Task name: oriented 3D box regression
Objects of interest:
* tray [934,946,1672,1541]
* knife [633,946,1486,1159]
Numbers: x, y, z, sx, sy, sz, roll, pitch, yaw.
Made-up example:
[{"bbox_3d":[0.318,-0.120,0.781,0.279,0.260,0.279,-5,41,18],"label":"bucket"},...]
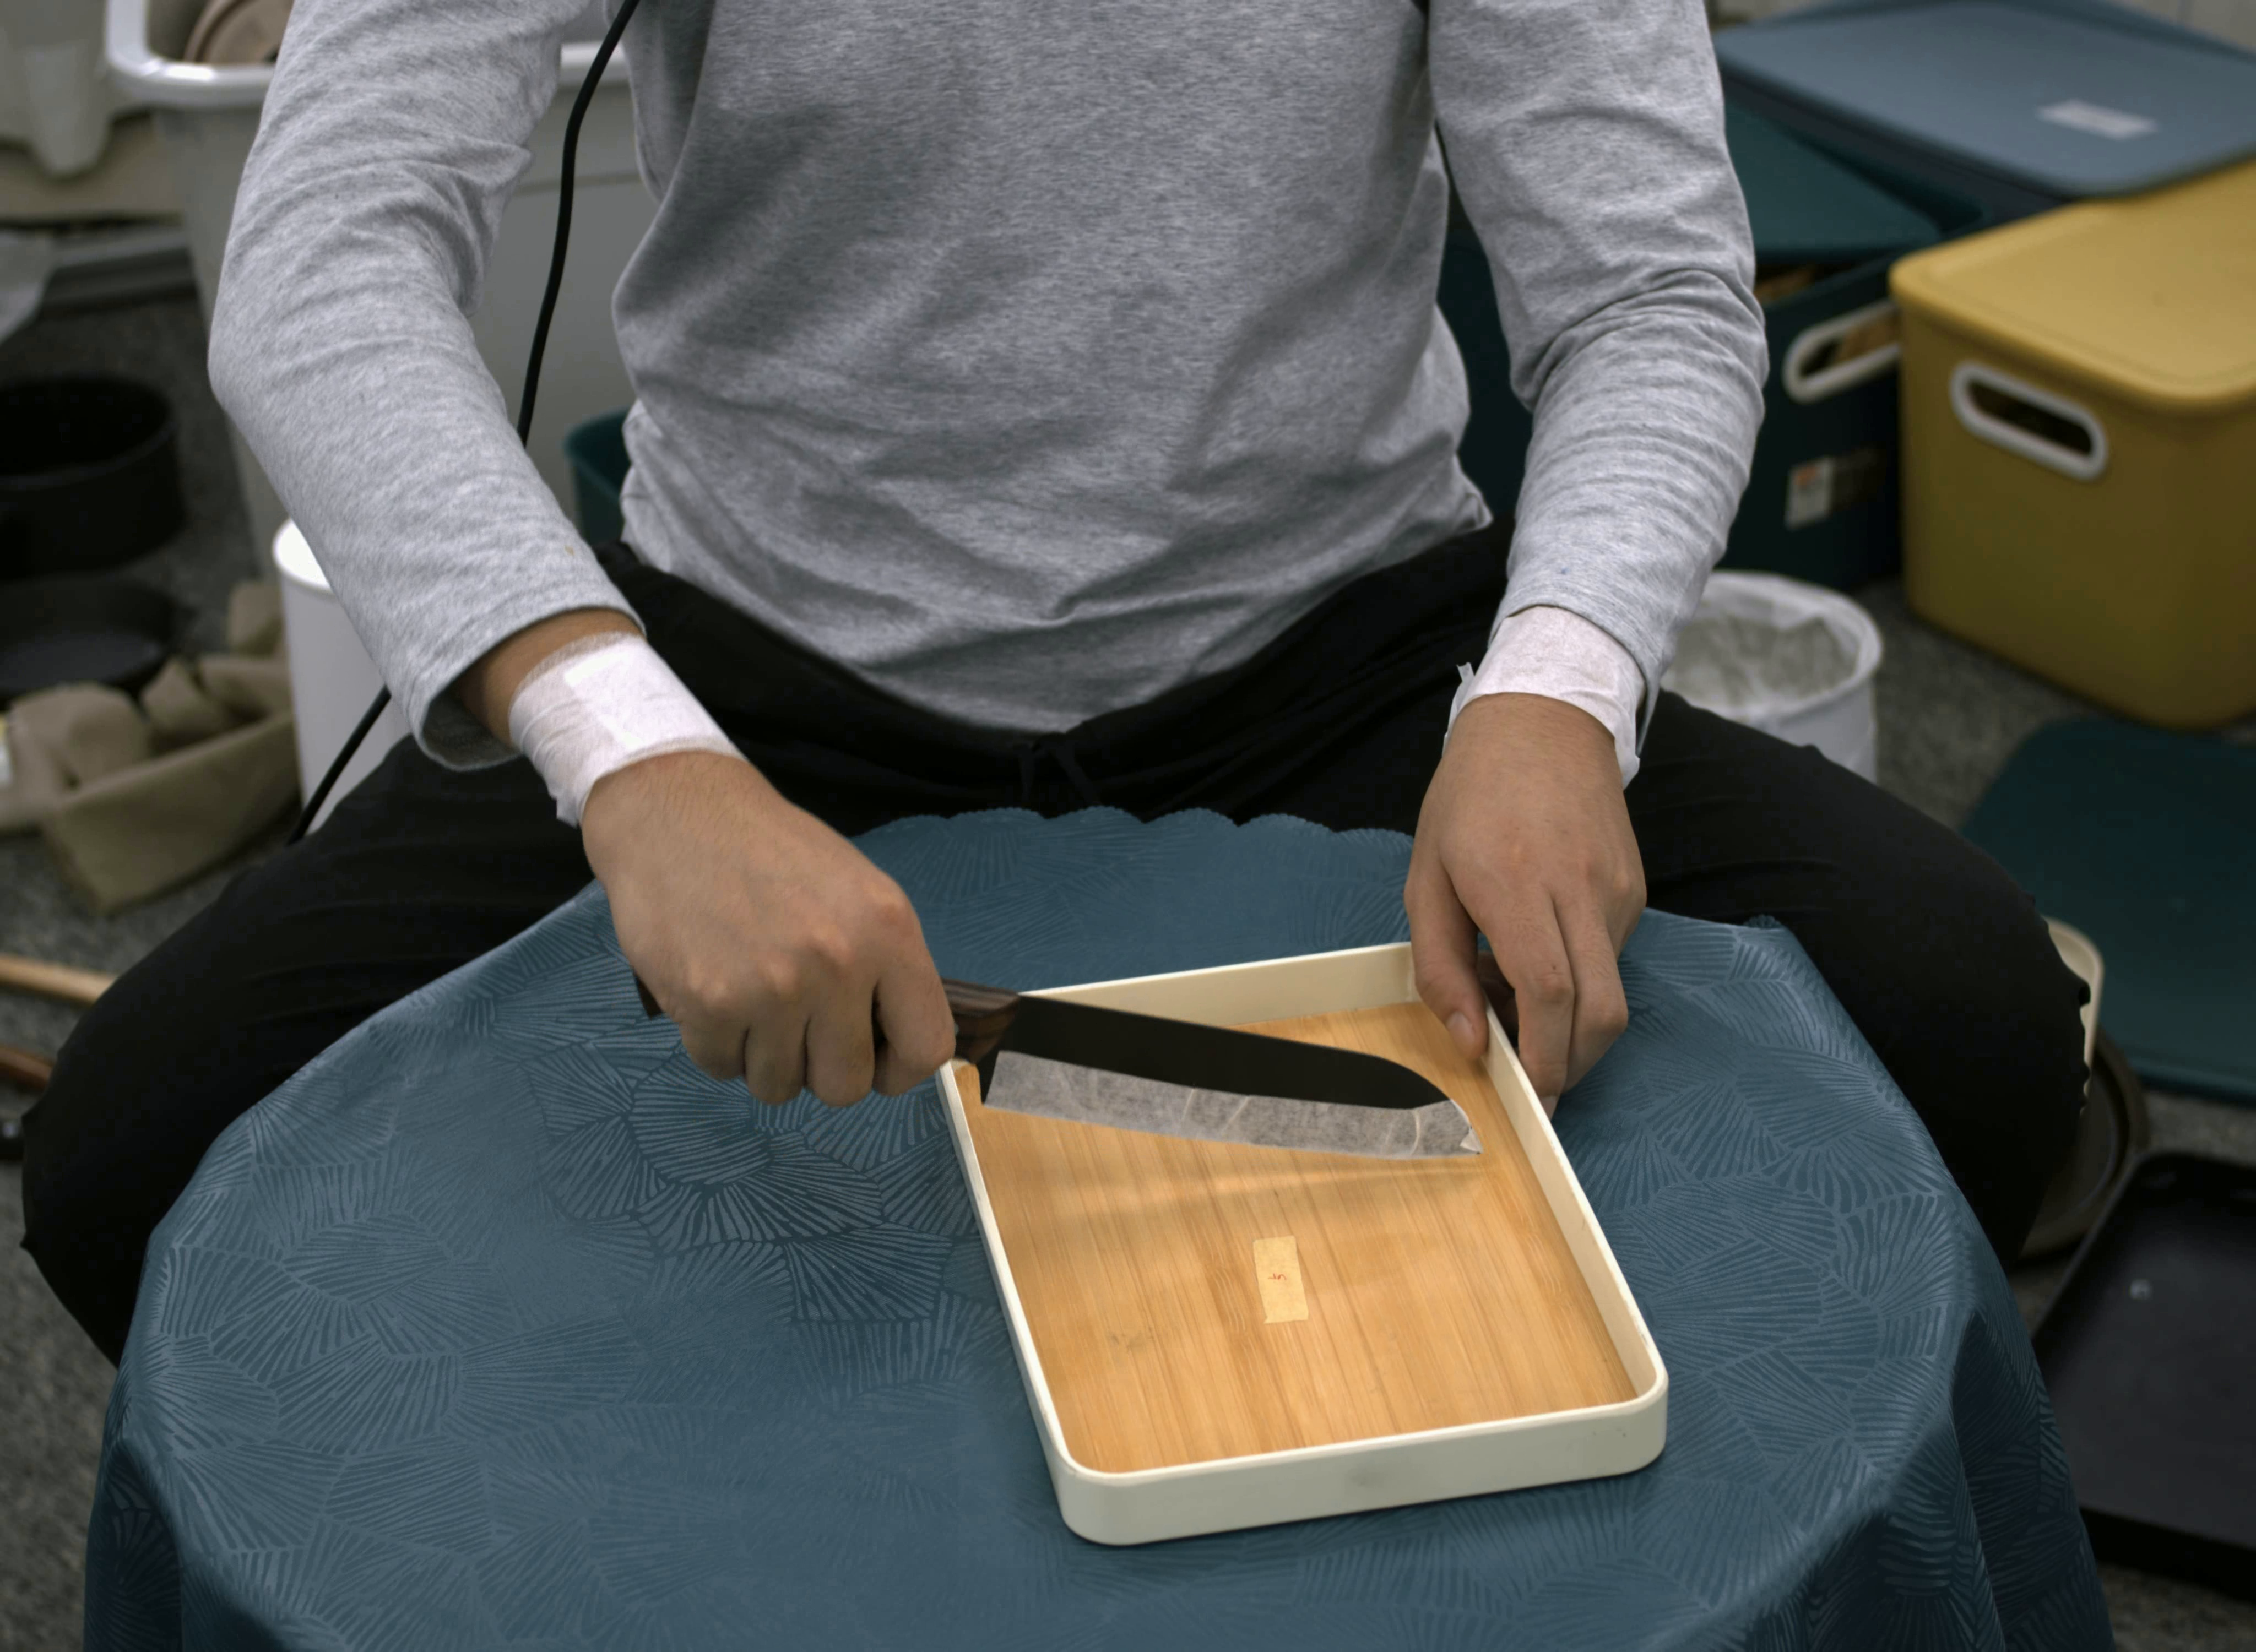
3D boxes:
[{"bbox_3d":[0.049,0.129,1.815,0.191,0.027,0.304,-7,27,-8],"label":"tray"},{"bbox_3d":[-0.021,0.076,1.830,0.288,0.049,0.020,11,27,-9],"label":"knife"}]
